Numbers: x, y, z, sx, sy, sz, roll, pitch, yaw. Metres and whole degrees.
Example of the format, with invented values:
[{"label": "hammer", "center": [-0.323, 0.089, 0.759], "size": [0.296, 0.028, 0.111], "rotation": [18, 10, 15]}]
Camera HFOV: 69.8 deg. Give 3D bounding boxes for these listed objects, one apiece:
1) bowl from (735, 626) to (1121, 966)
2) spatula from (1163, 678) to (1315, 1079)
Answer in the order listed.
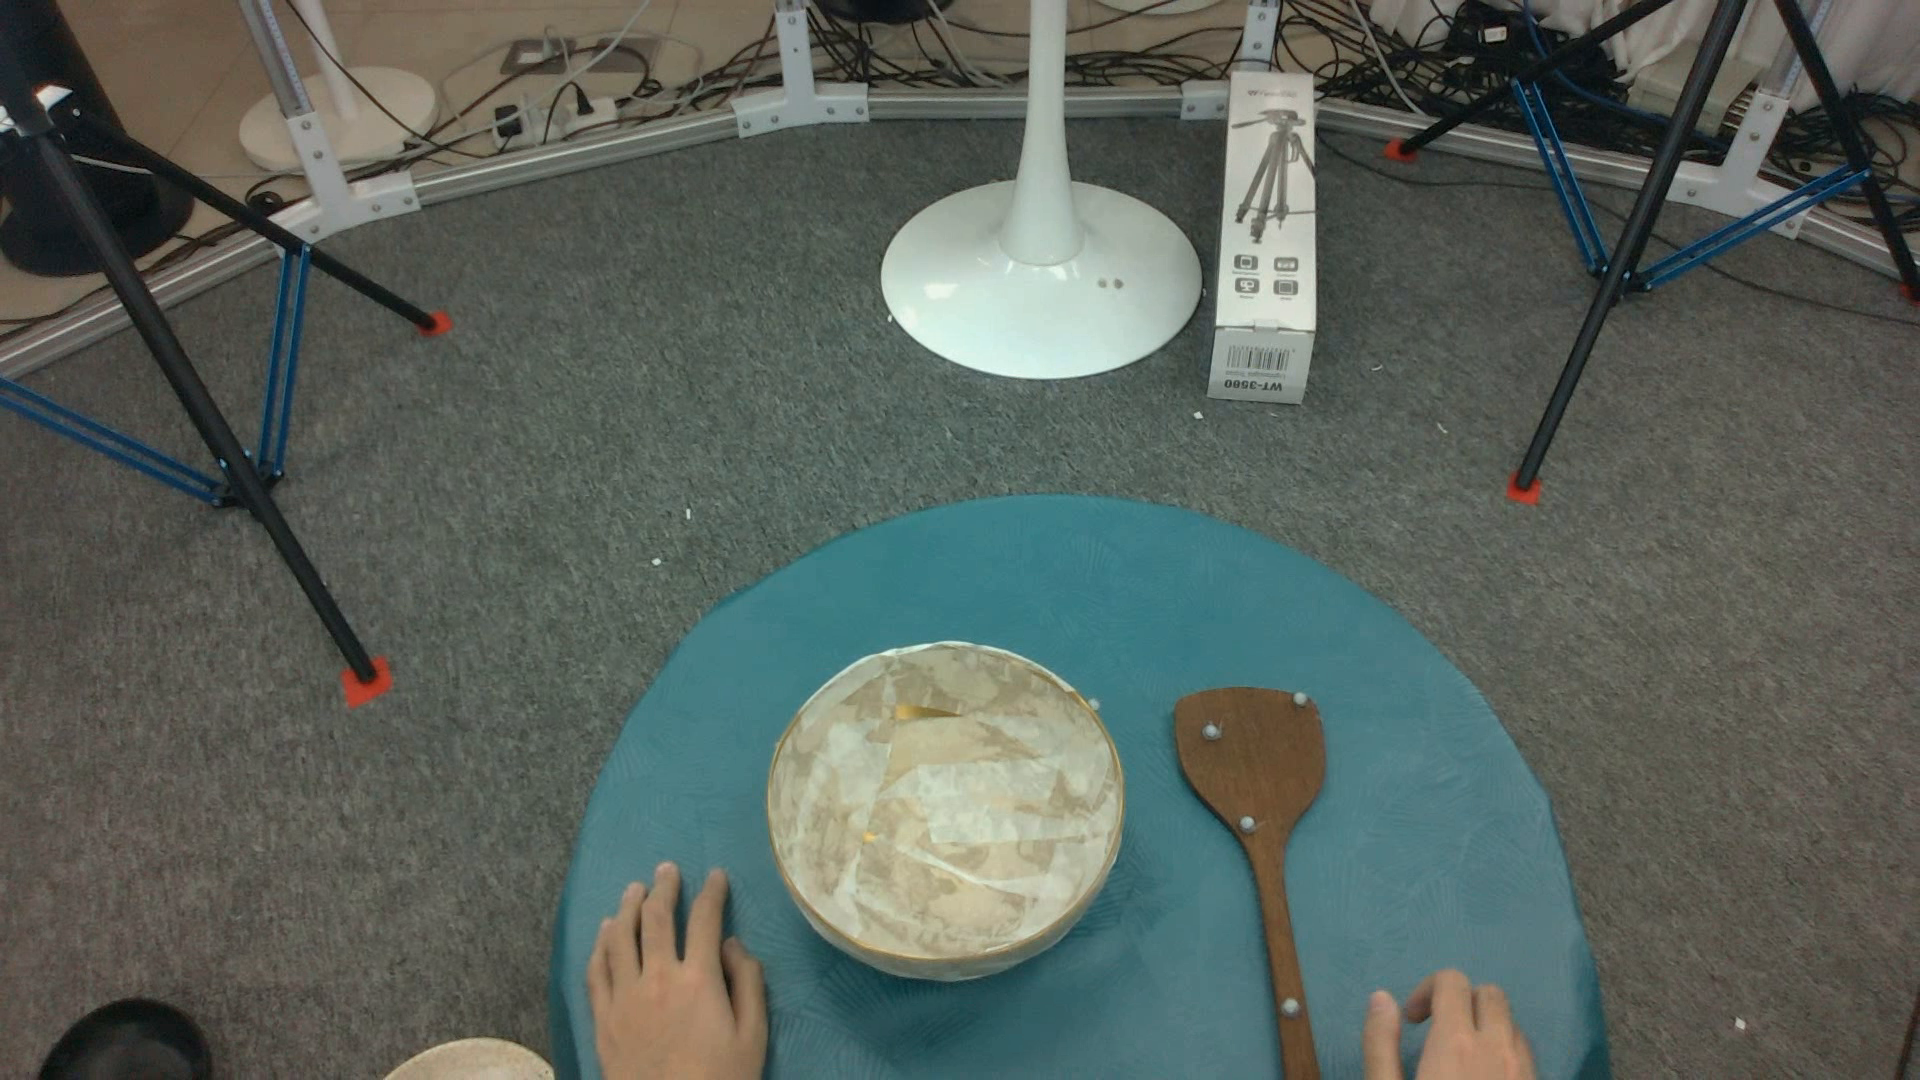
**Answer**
[{"label": "bowl", "center": [-0.016, 0.160, 0.790], "size": [0.215, 0.094, 0.215], "rotation": [1, 50, -1]}, {"label": "spatula", "center": [0.177, 0.238, 0.774], "size": [0.096, 0.016, 0.388], "rotation": [0, 49, 0]}]
